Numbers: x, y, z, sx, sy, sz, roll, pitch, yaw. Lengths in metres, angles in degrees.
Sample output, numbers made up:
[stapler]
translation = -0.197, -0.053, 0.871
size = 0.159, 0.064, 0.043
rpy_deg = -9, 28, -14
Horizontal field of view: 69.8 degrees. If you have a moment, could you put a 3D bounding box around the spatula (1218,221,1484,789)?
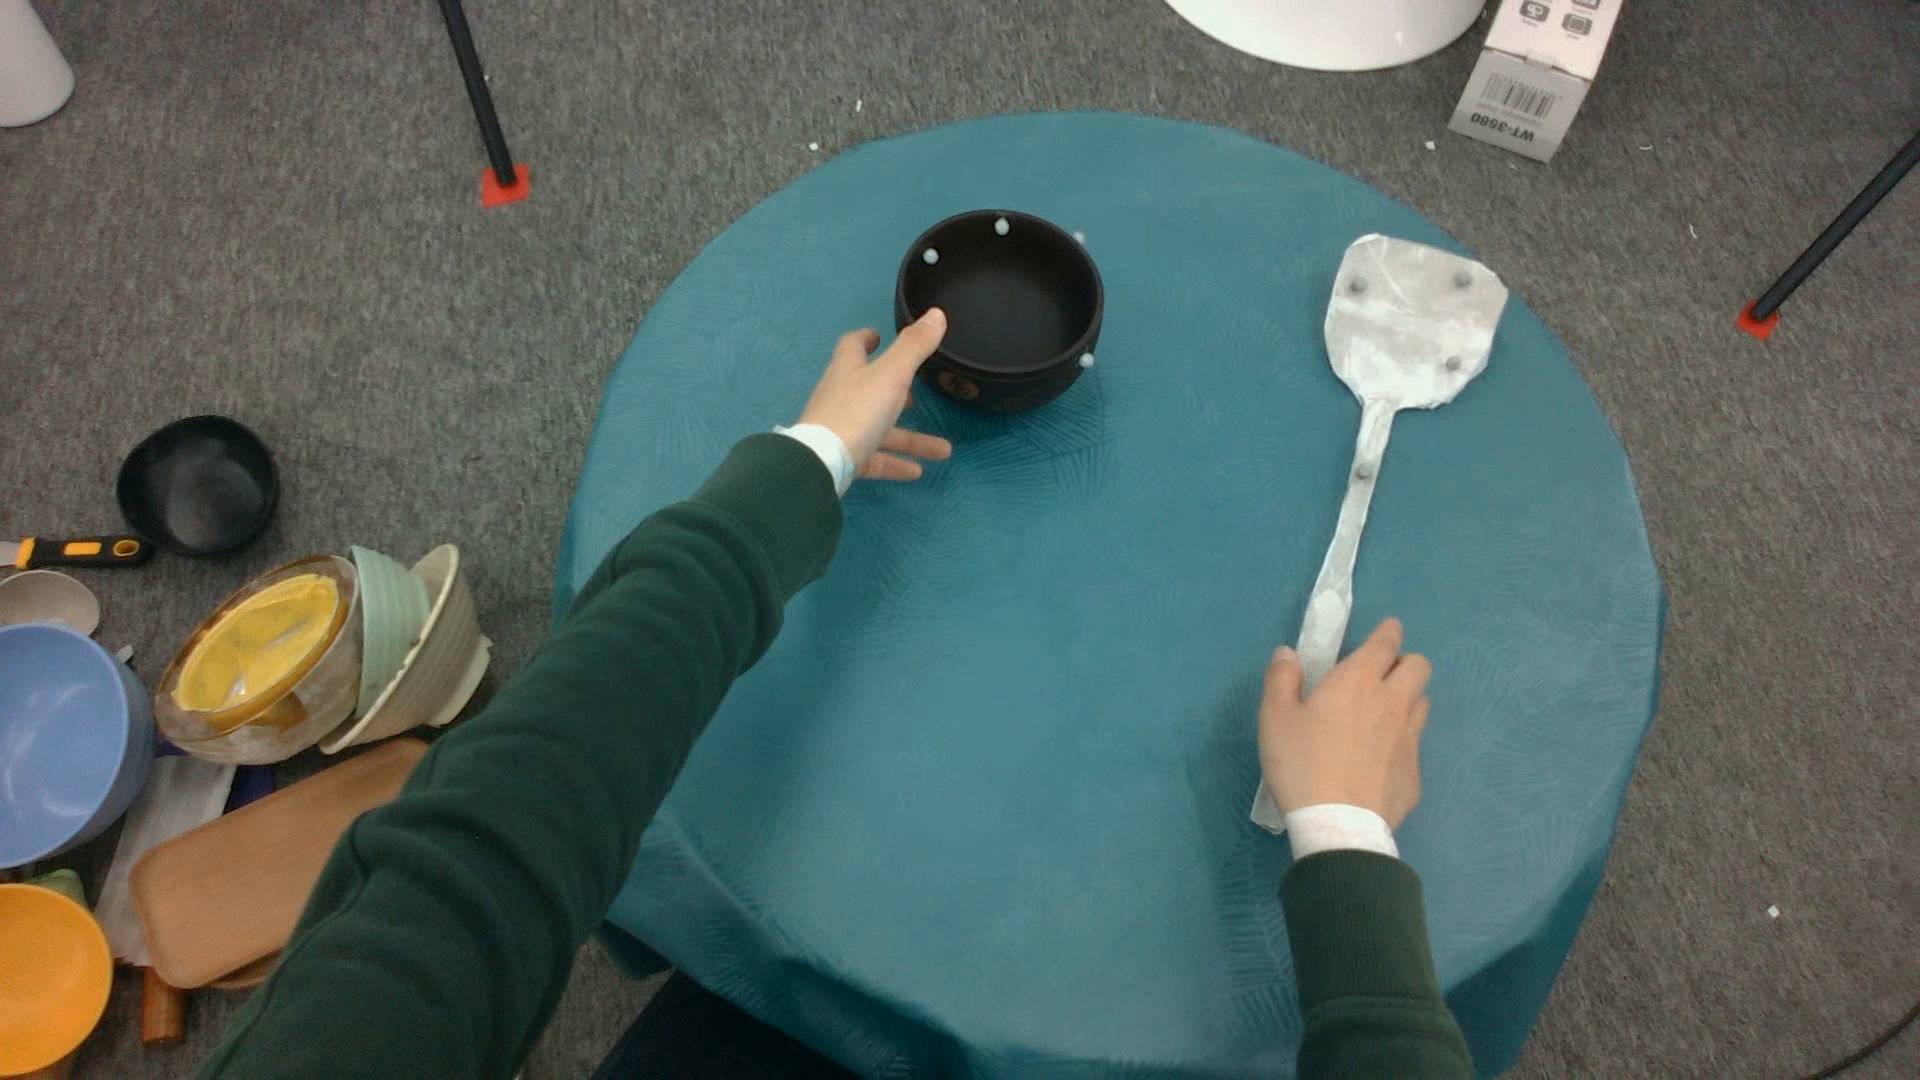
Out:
[spatula]
translation = 0.206, -0.028, 0.755
size = 0.098, 0.044, 0.366
rpy_deg = 21, 61, 5

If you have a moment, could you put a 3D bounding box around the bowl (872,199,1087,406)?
[bowl]
translation = 0.010, -0.125, 0.775
size = 0.118, 0.069, 0.118
rpy_deg = 1, 61, -2
